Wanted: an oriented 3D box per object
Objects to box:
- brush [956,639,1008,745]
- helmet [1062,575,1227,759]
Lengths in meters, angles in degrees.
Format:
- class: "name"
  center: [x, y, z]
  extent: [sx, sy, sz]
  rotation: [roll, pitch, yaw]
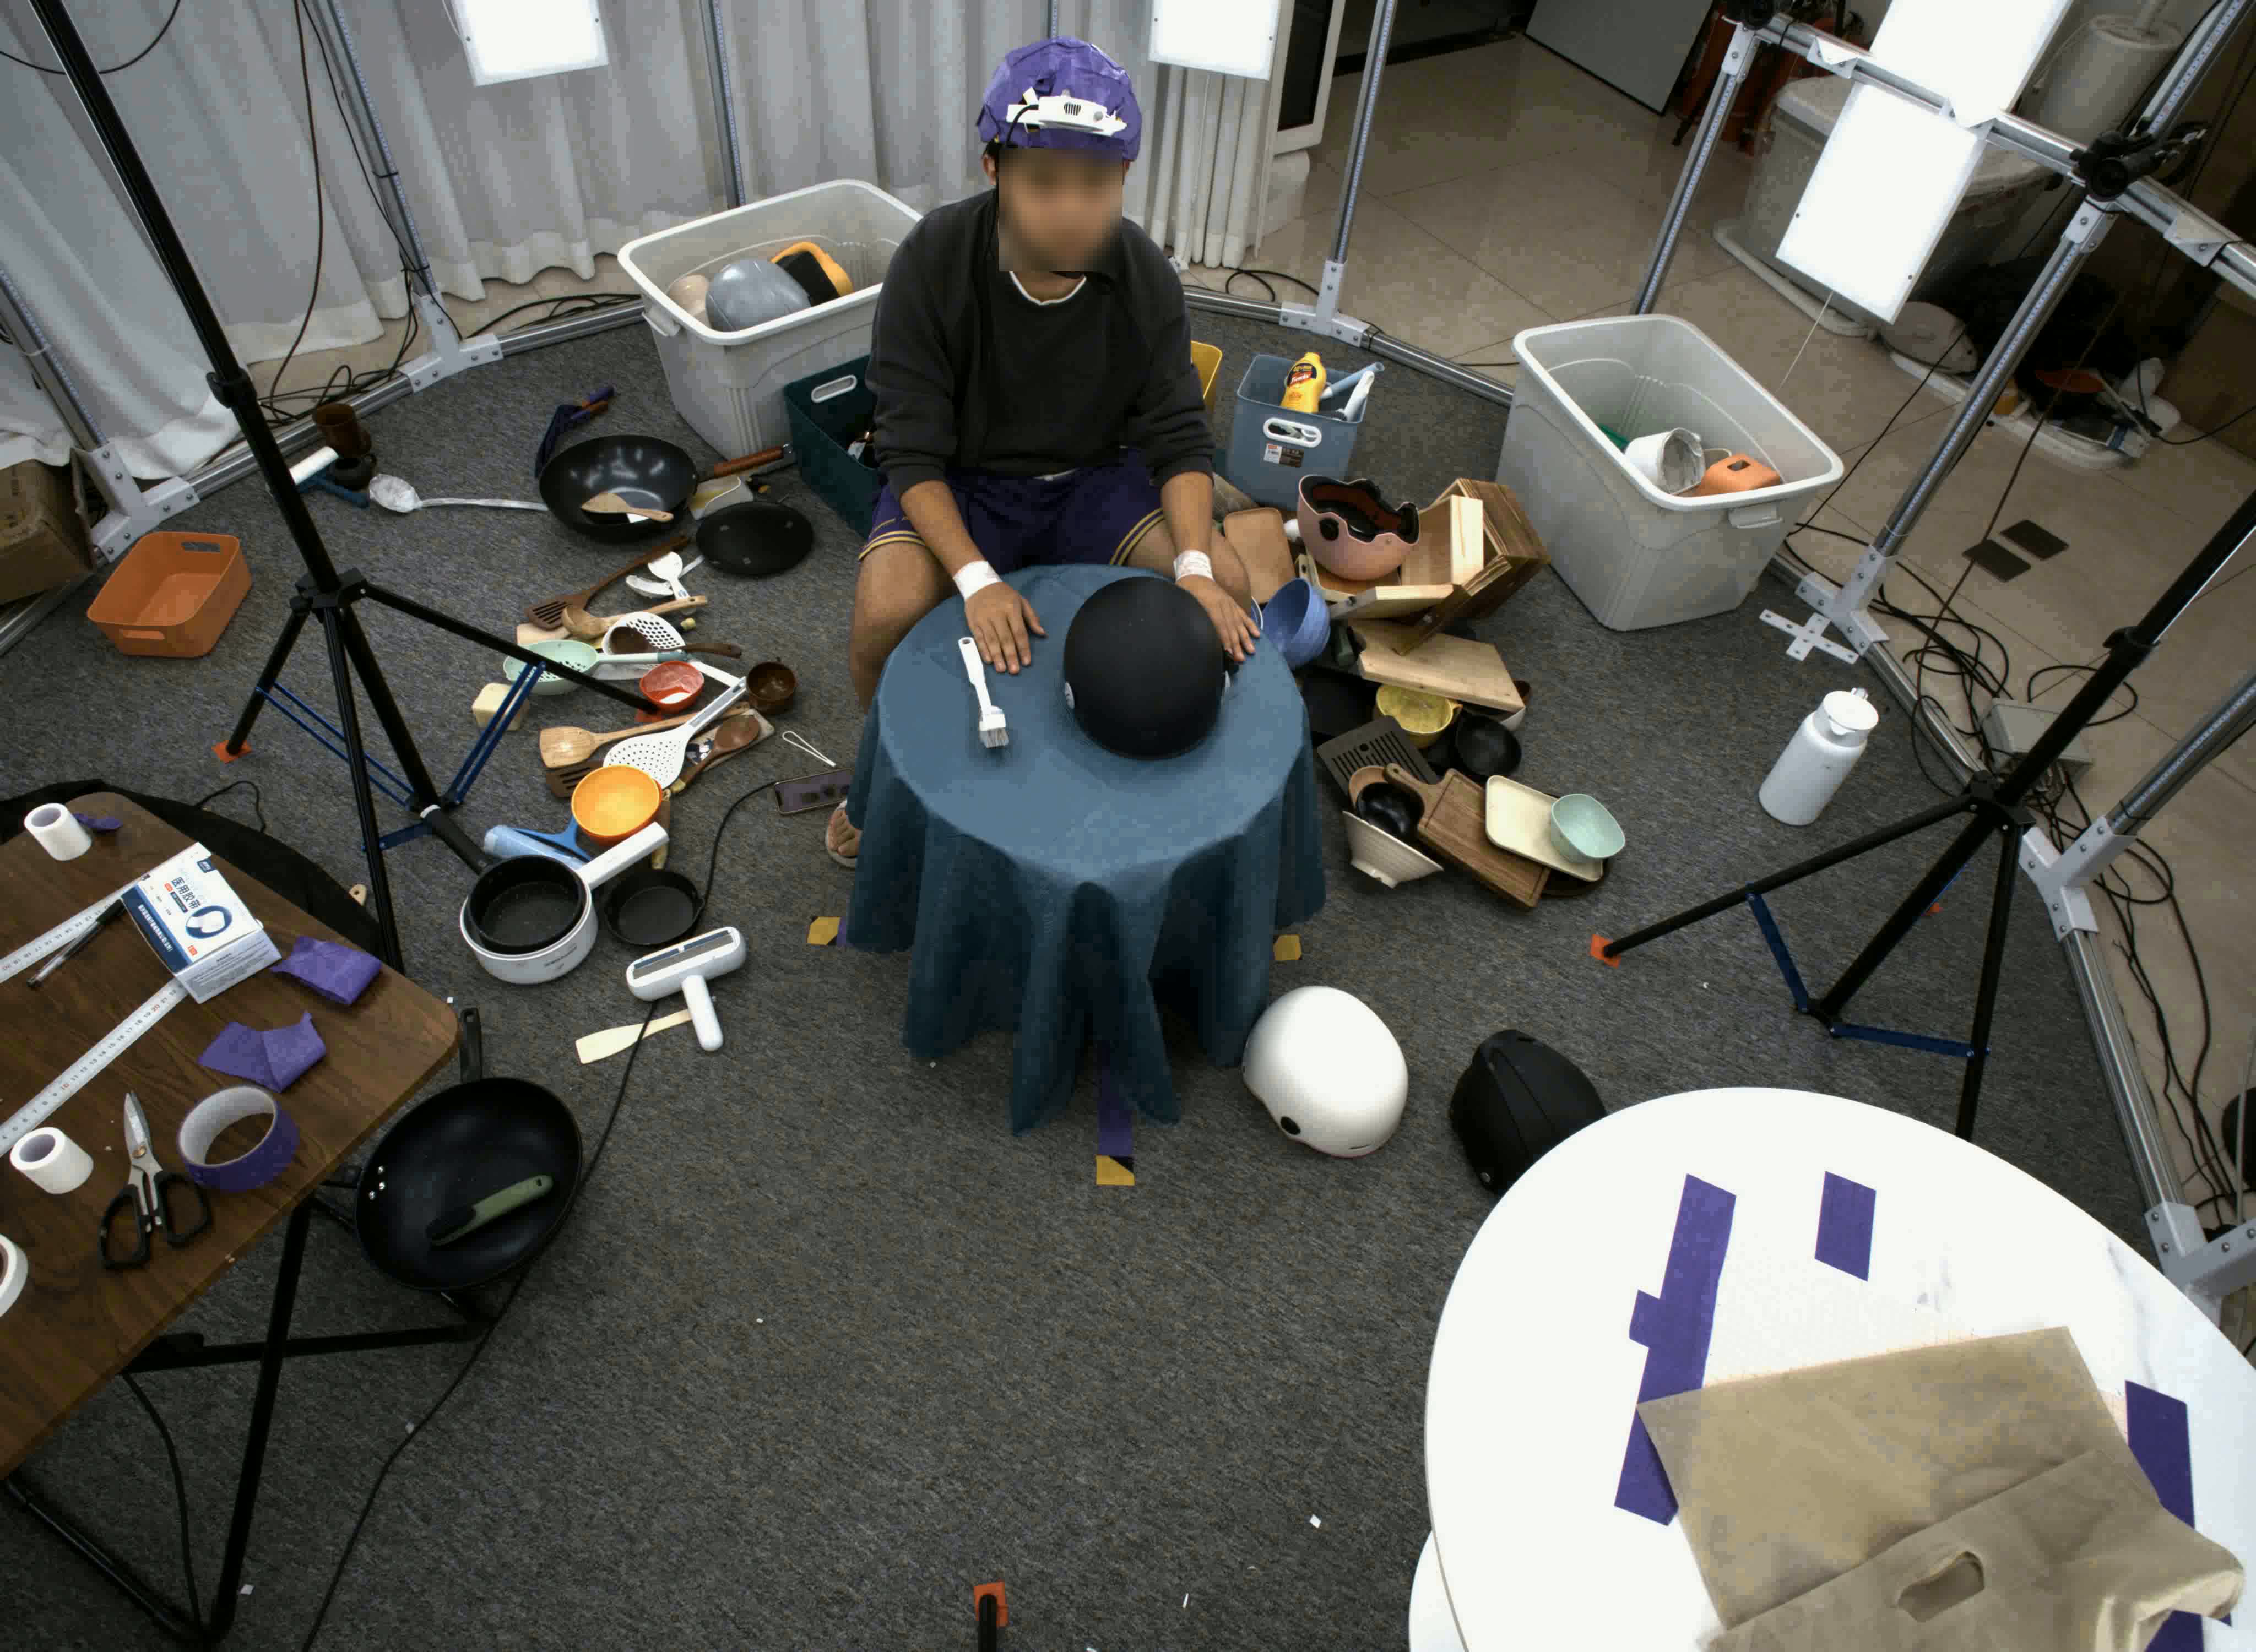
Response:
- class: "brush"
  center: [-0.206, -0.187, 1.800]
  extent: [0.034, 0.049, 0.249]
  rotation: [-13, 38, -10]
- class: "helmet"
  center: [0.021, -0.242, 1.776]
  extent: [0.230, 0.163, 0.280]
  rotation: [-3, 51, -4]
